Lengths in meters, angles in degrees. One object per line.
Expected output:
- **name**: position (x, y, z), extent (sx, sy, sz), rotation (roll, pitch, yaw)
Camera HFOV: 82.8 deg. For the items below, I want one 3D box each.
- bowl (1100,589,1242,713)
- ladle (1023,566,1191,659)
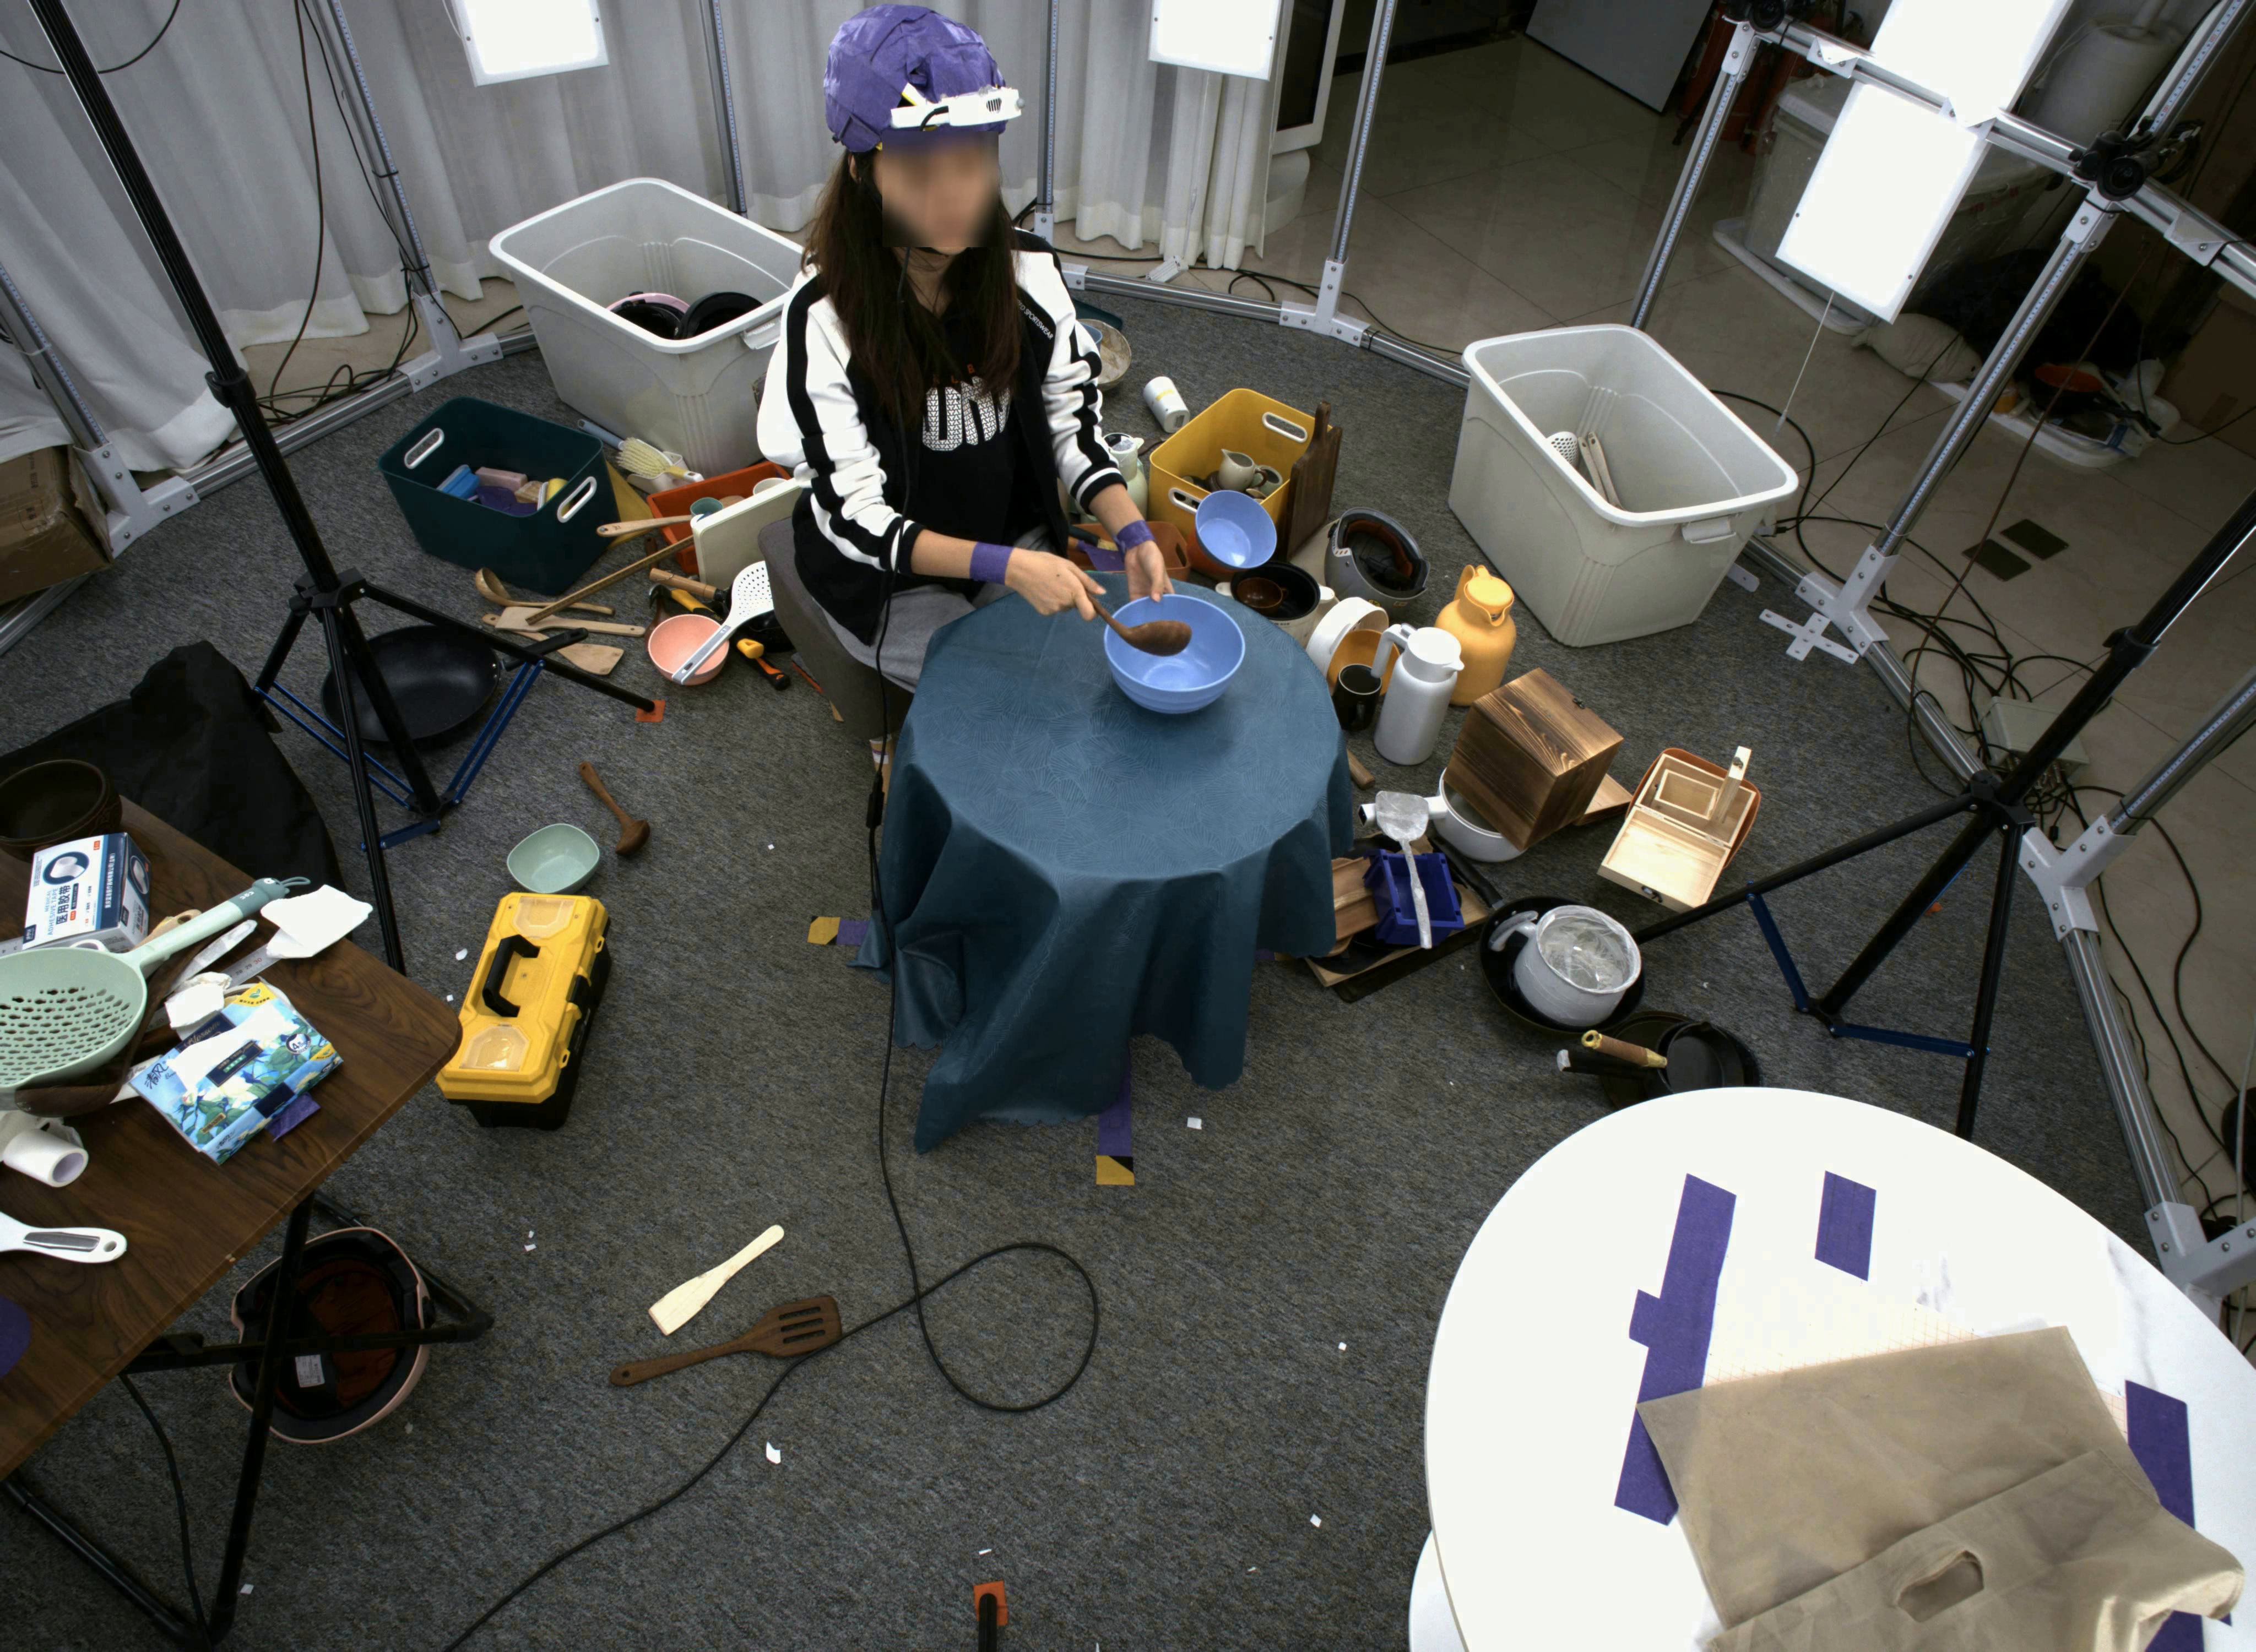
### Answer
- **bowl**: position (0.059, -0.232, 1.815), extent (0.196, 0.093, 0.201), rotation (0, 55, -1)
- **ladle**: position (-0.029, -0.303, 1.746), extent (0.263, 0.075, 0.065), rotation (36, 75, 22)
